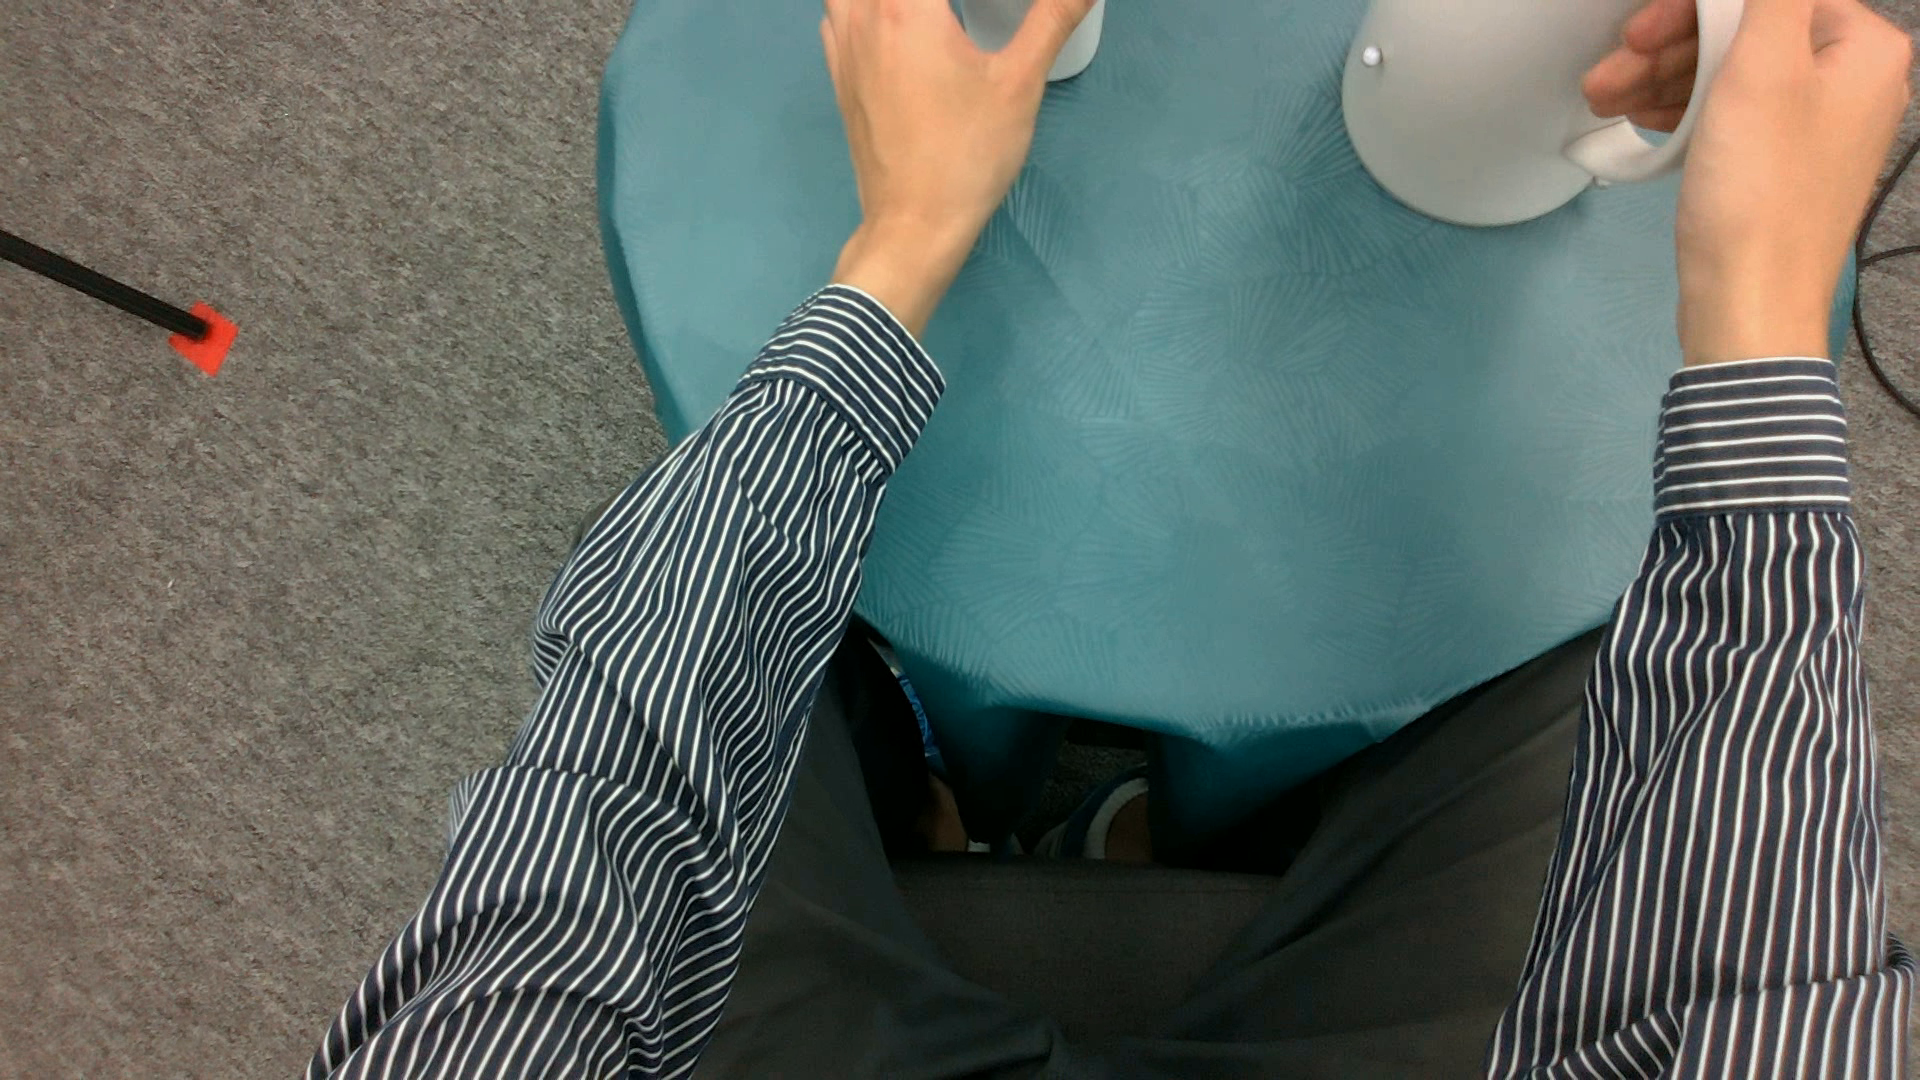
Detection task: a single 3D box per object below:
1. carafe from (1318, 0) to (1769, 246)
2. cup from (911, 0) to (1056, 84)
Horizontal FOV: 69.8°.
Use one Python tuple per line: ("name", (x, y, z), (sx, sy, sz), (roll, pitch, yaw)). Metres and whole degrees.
("carafe", (0.241, -0.213, 0.547), (0.132, 0.248, 0.168), (-24, 78, -2))
("cup", (0.010, -0.273, 0.636), (0.081, 0.125, 0.082), (-1, 79, 3))
